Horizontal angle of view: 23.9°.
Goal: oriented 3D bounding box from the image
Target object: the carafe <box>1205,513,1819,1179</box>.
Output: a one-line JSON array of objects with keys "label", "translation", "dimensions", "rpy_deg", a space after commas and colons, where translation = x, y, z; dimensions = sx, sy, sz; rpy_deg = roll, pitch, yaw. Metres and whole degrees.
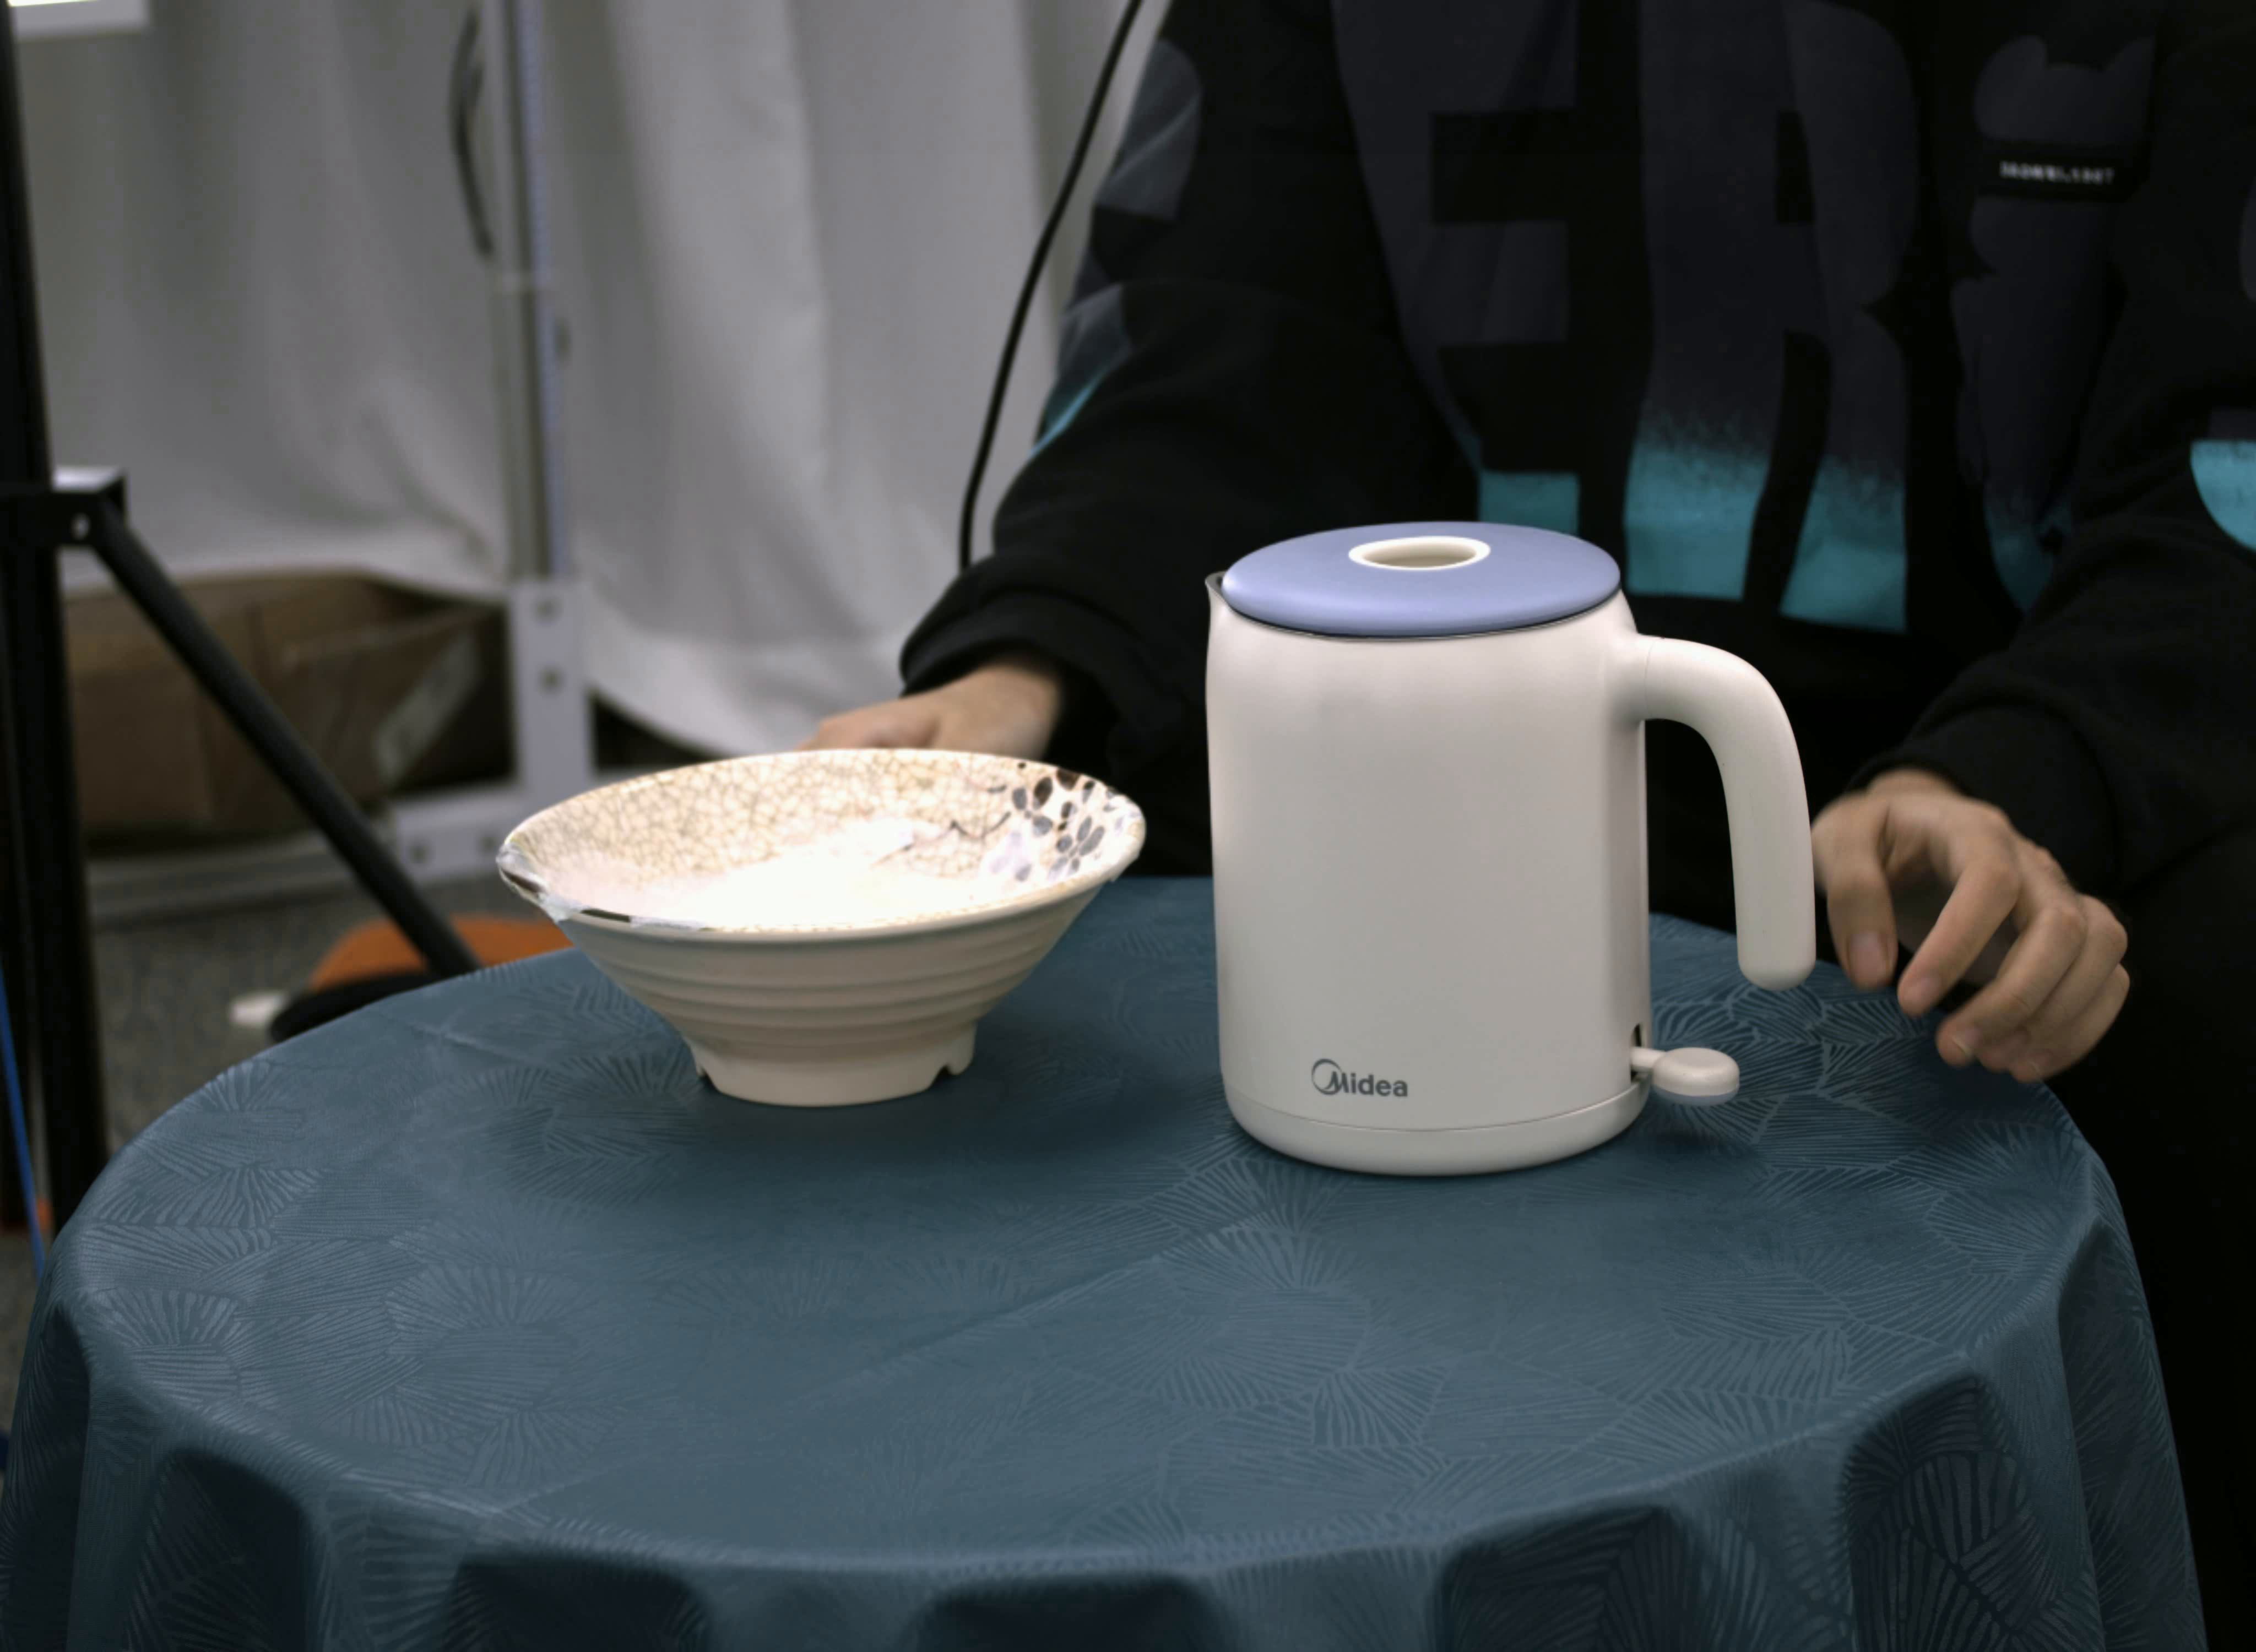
[{"label": "carafe", "translation": [0.113, 0.008, 1.581], "dimensions": [0.193, 0.182, 0.130], "rpy_deg": [7, 19, 22]}]

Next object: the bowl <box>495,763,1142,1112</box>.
[{"label": "bowl", "translation": [-0.096, 0.041, 1.676], "dimensions": [0.203, 0.078, 0.205], "rpy_deg": [-1, 14, -1]}]
